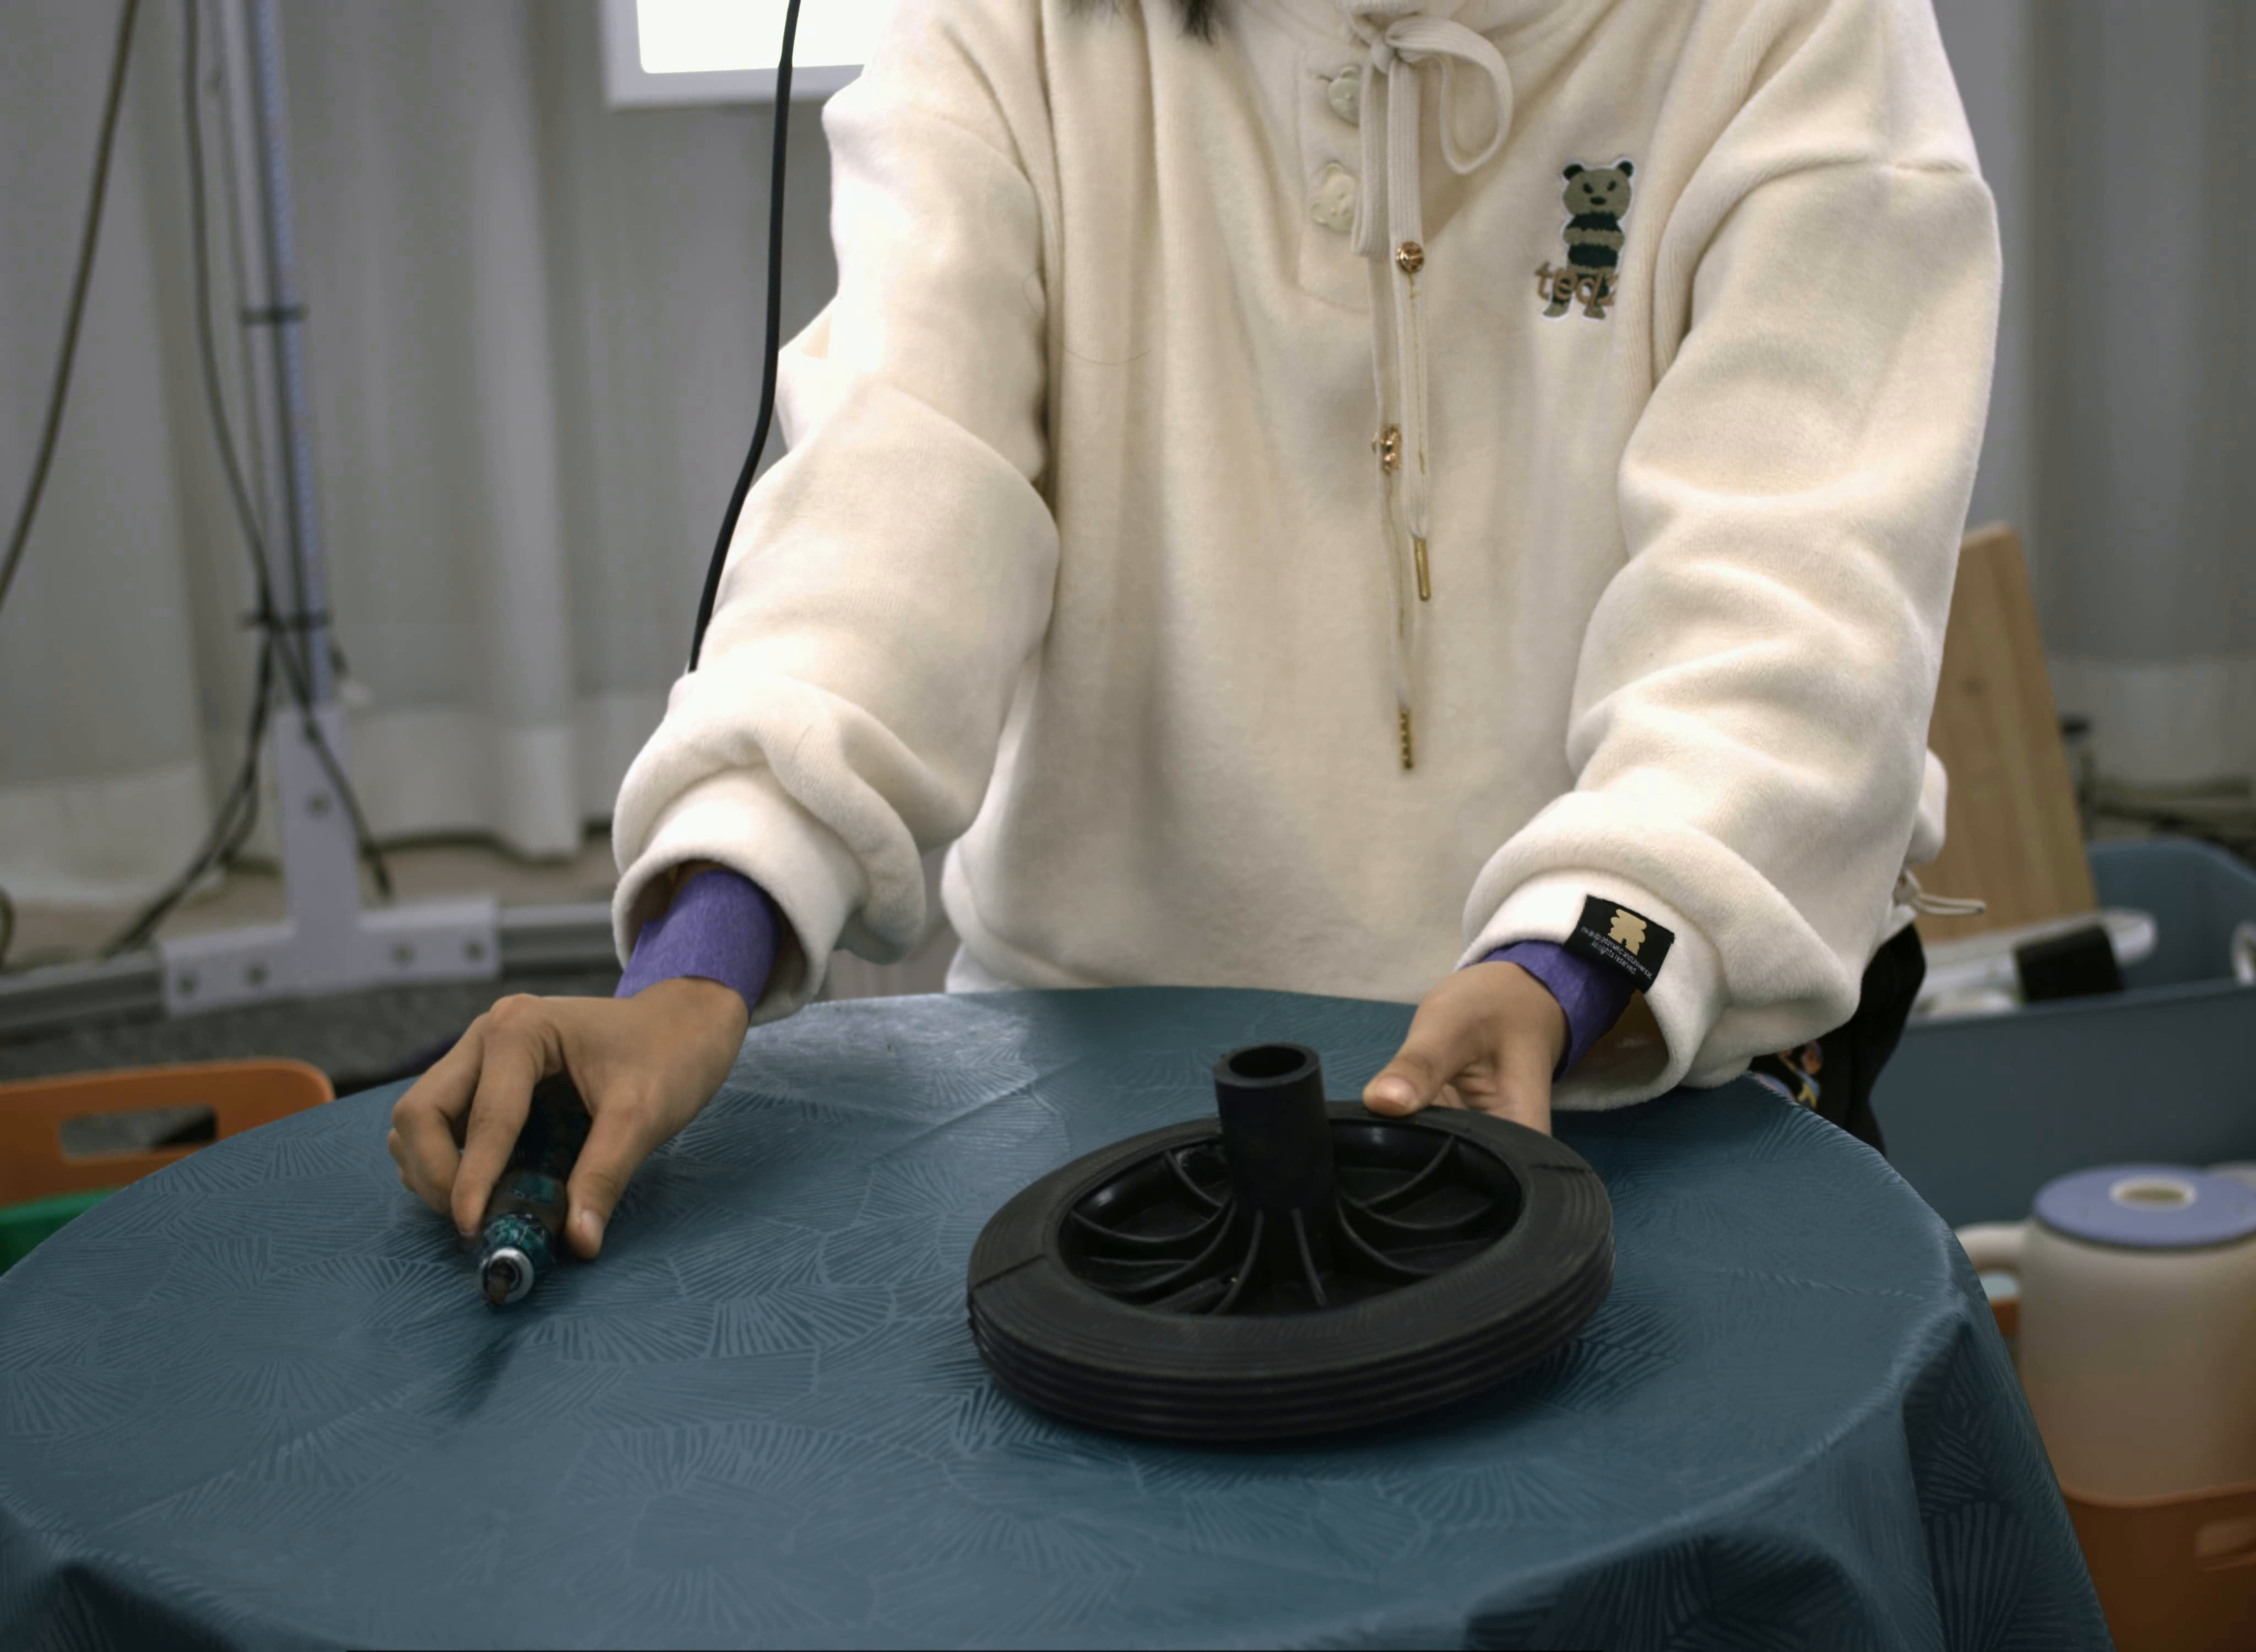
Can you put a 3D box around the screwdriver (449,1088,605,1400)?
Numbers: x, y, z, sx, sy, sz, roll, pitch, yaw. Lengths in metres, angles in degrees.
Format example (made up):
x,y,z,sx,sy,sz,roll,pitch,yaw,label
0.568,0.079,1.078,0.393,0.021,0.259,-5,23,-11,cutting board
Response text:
x,y,z,sx,sy,sz,roll,pitch,yaw,label
-0.185,0.128,1.648,0.033,0.033,0.192,-1,21,5,screwdriver

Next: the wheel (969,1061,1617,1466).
x,y,z,sx,sy,sz,roll,pitch,yaw,label
0.044,0.109,1.564,0.187,0.078,0.191,2,24,26,wheel
